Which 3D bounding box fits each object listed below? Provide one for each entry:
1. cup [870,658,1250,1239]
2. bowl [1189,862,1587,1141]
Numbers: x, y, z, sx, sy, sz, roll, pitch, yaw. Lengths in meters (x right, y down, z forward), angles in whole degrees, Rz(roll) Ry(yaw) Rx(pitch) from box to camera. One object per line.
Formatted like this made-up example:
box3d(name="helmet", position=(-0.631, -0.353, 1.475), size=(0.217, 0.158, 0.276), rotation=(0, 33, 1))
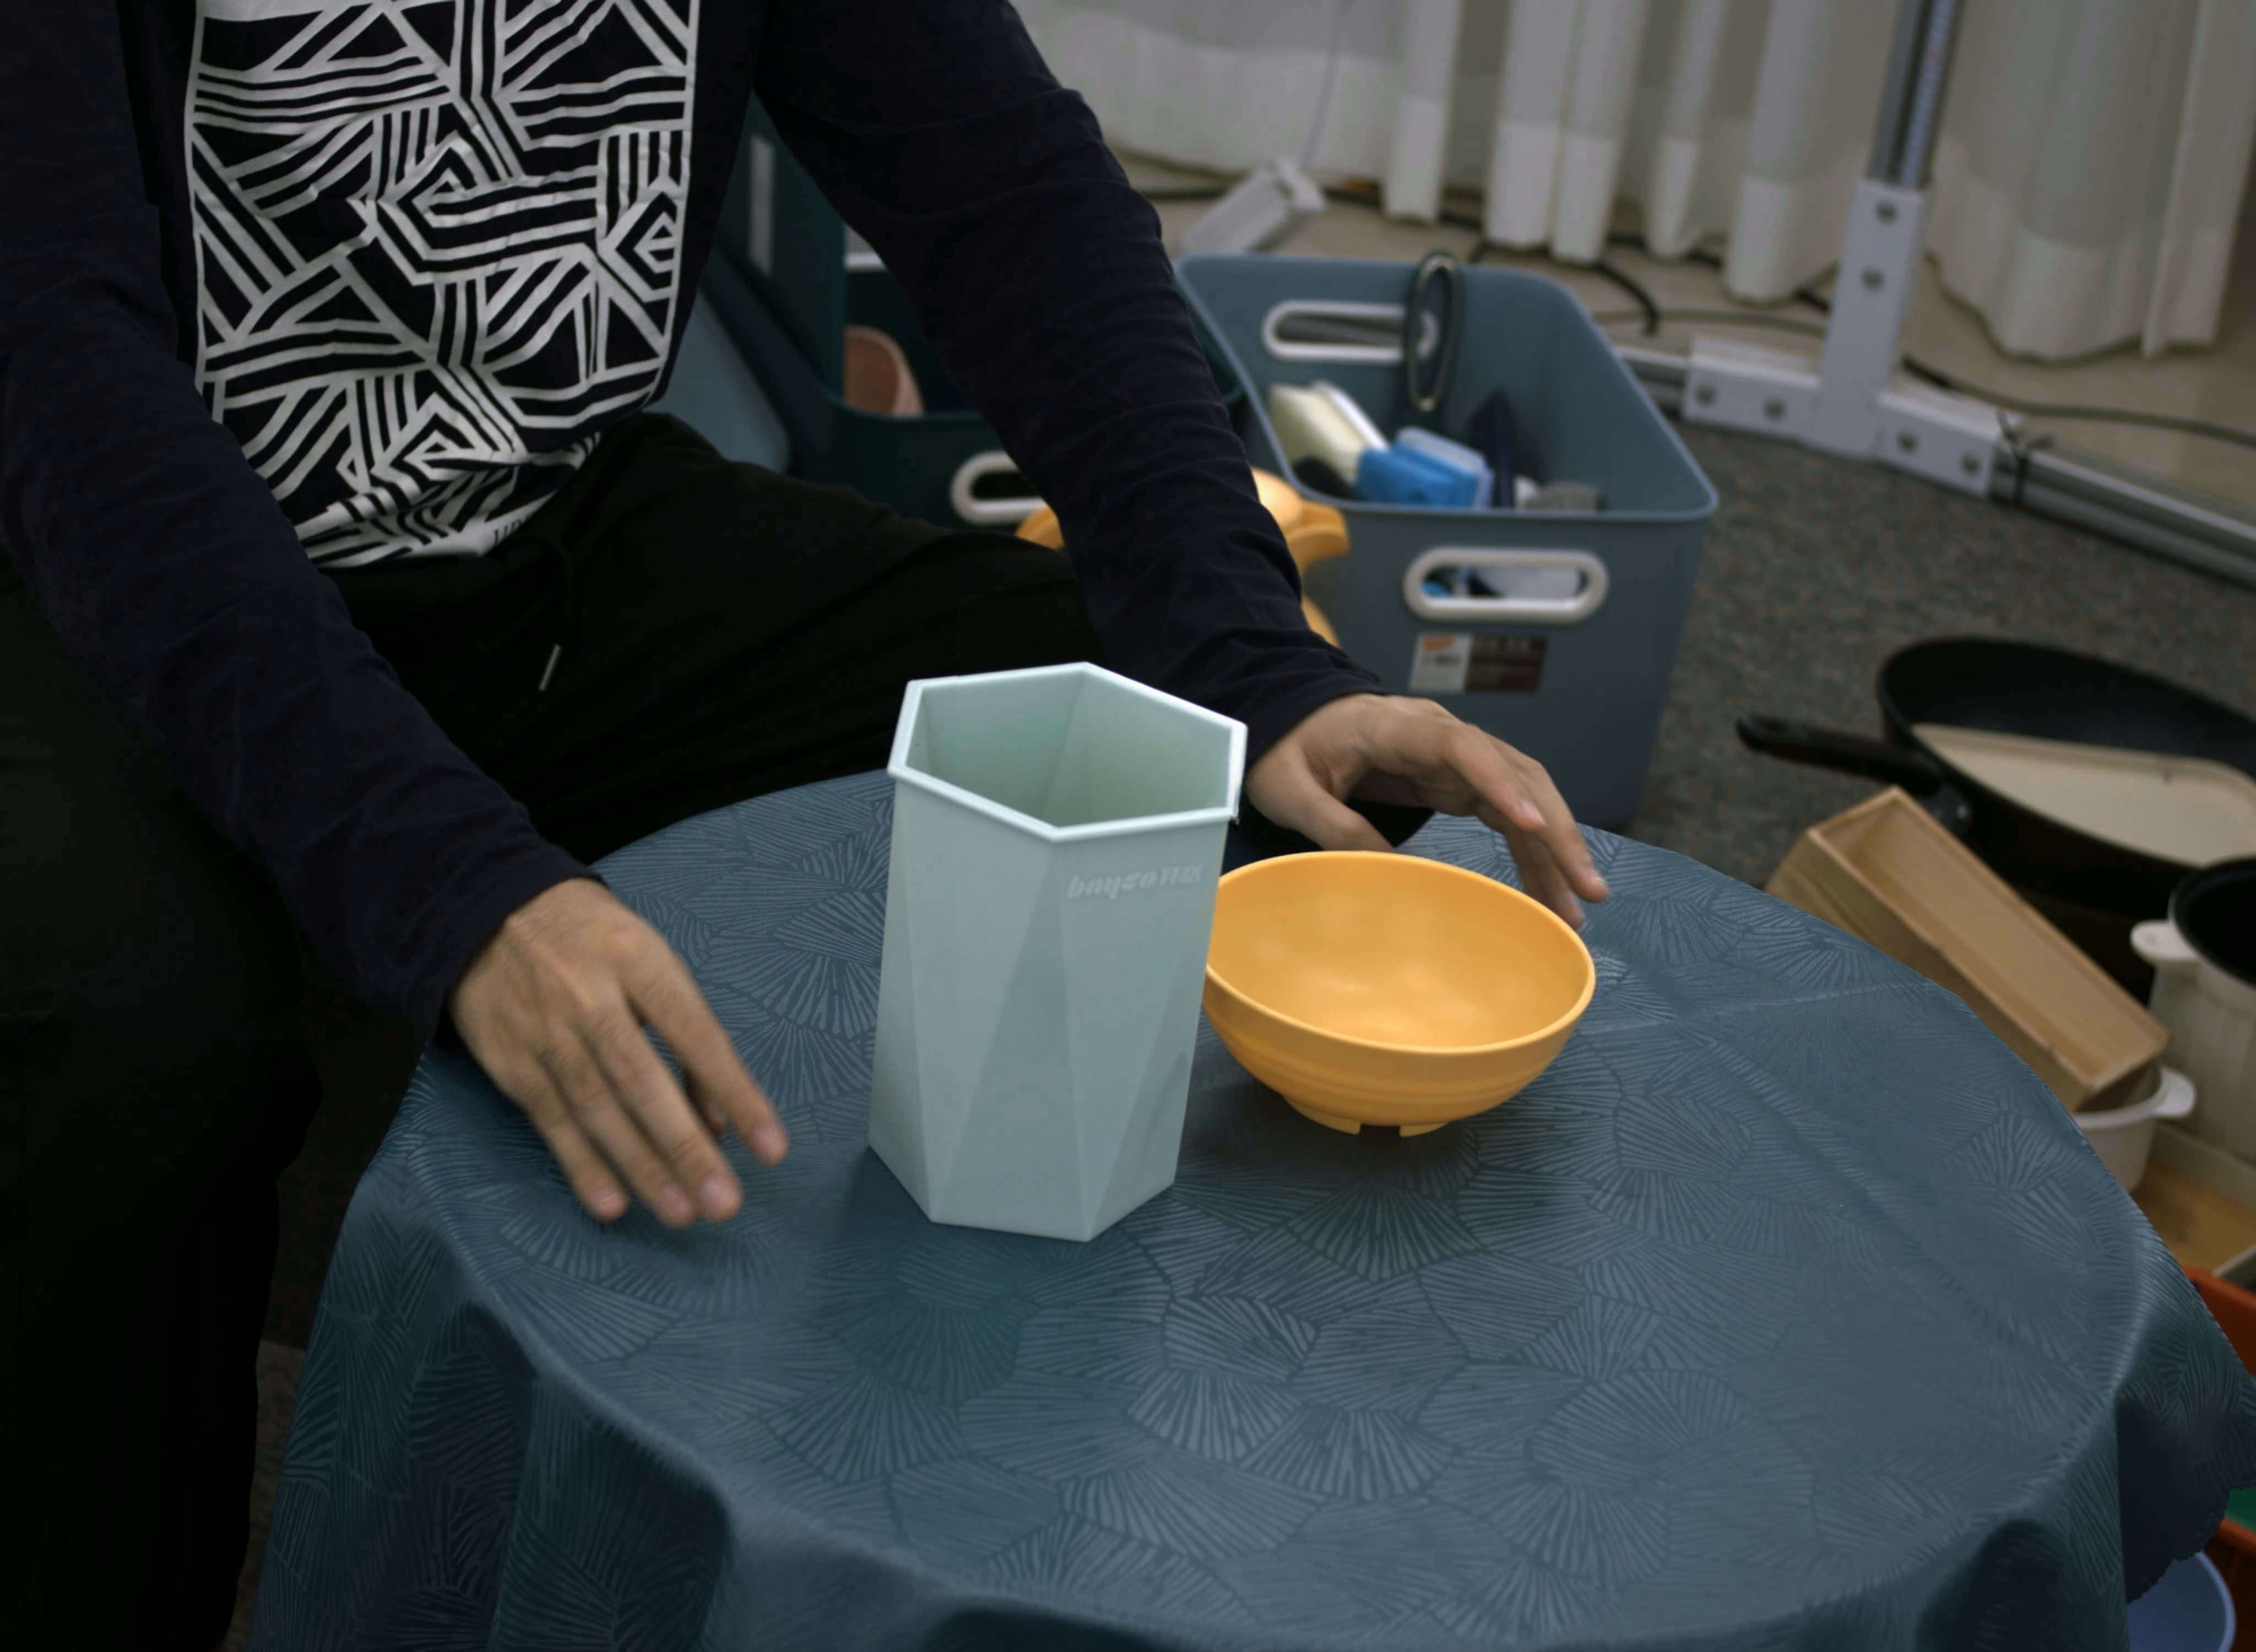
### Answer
box3d(name="cup", position=(-0.026, 0.043, 1.778), size=(0.130, 0.162, 0.116), rotation=(-7, 29, -27))
box3d(name="bowl", position=(0.086, 0.070, 1.874), size=(0.145, 0.060, 0.146), rotation=(5, 24, -3))
